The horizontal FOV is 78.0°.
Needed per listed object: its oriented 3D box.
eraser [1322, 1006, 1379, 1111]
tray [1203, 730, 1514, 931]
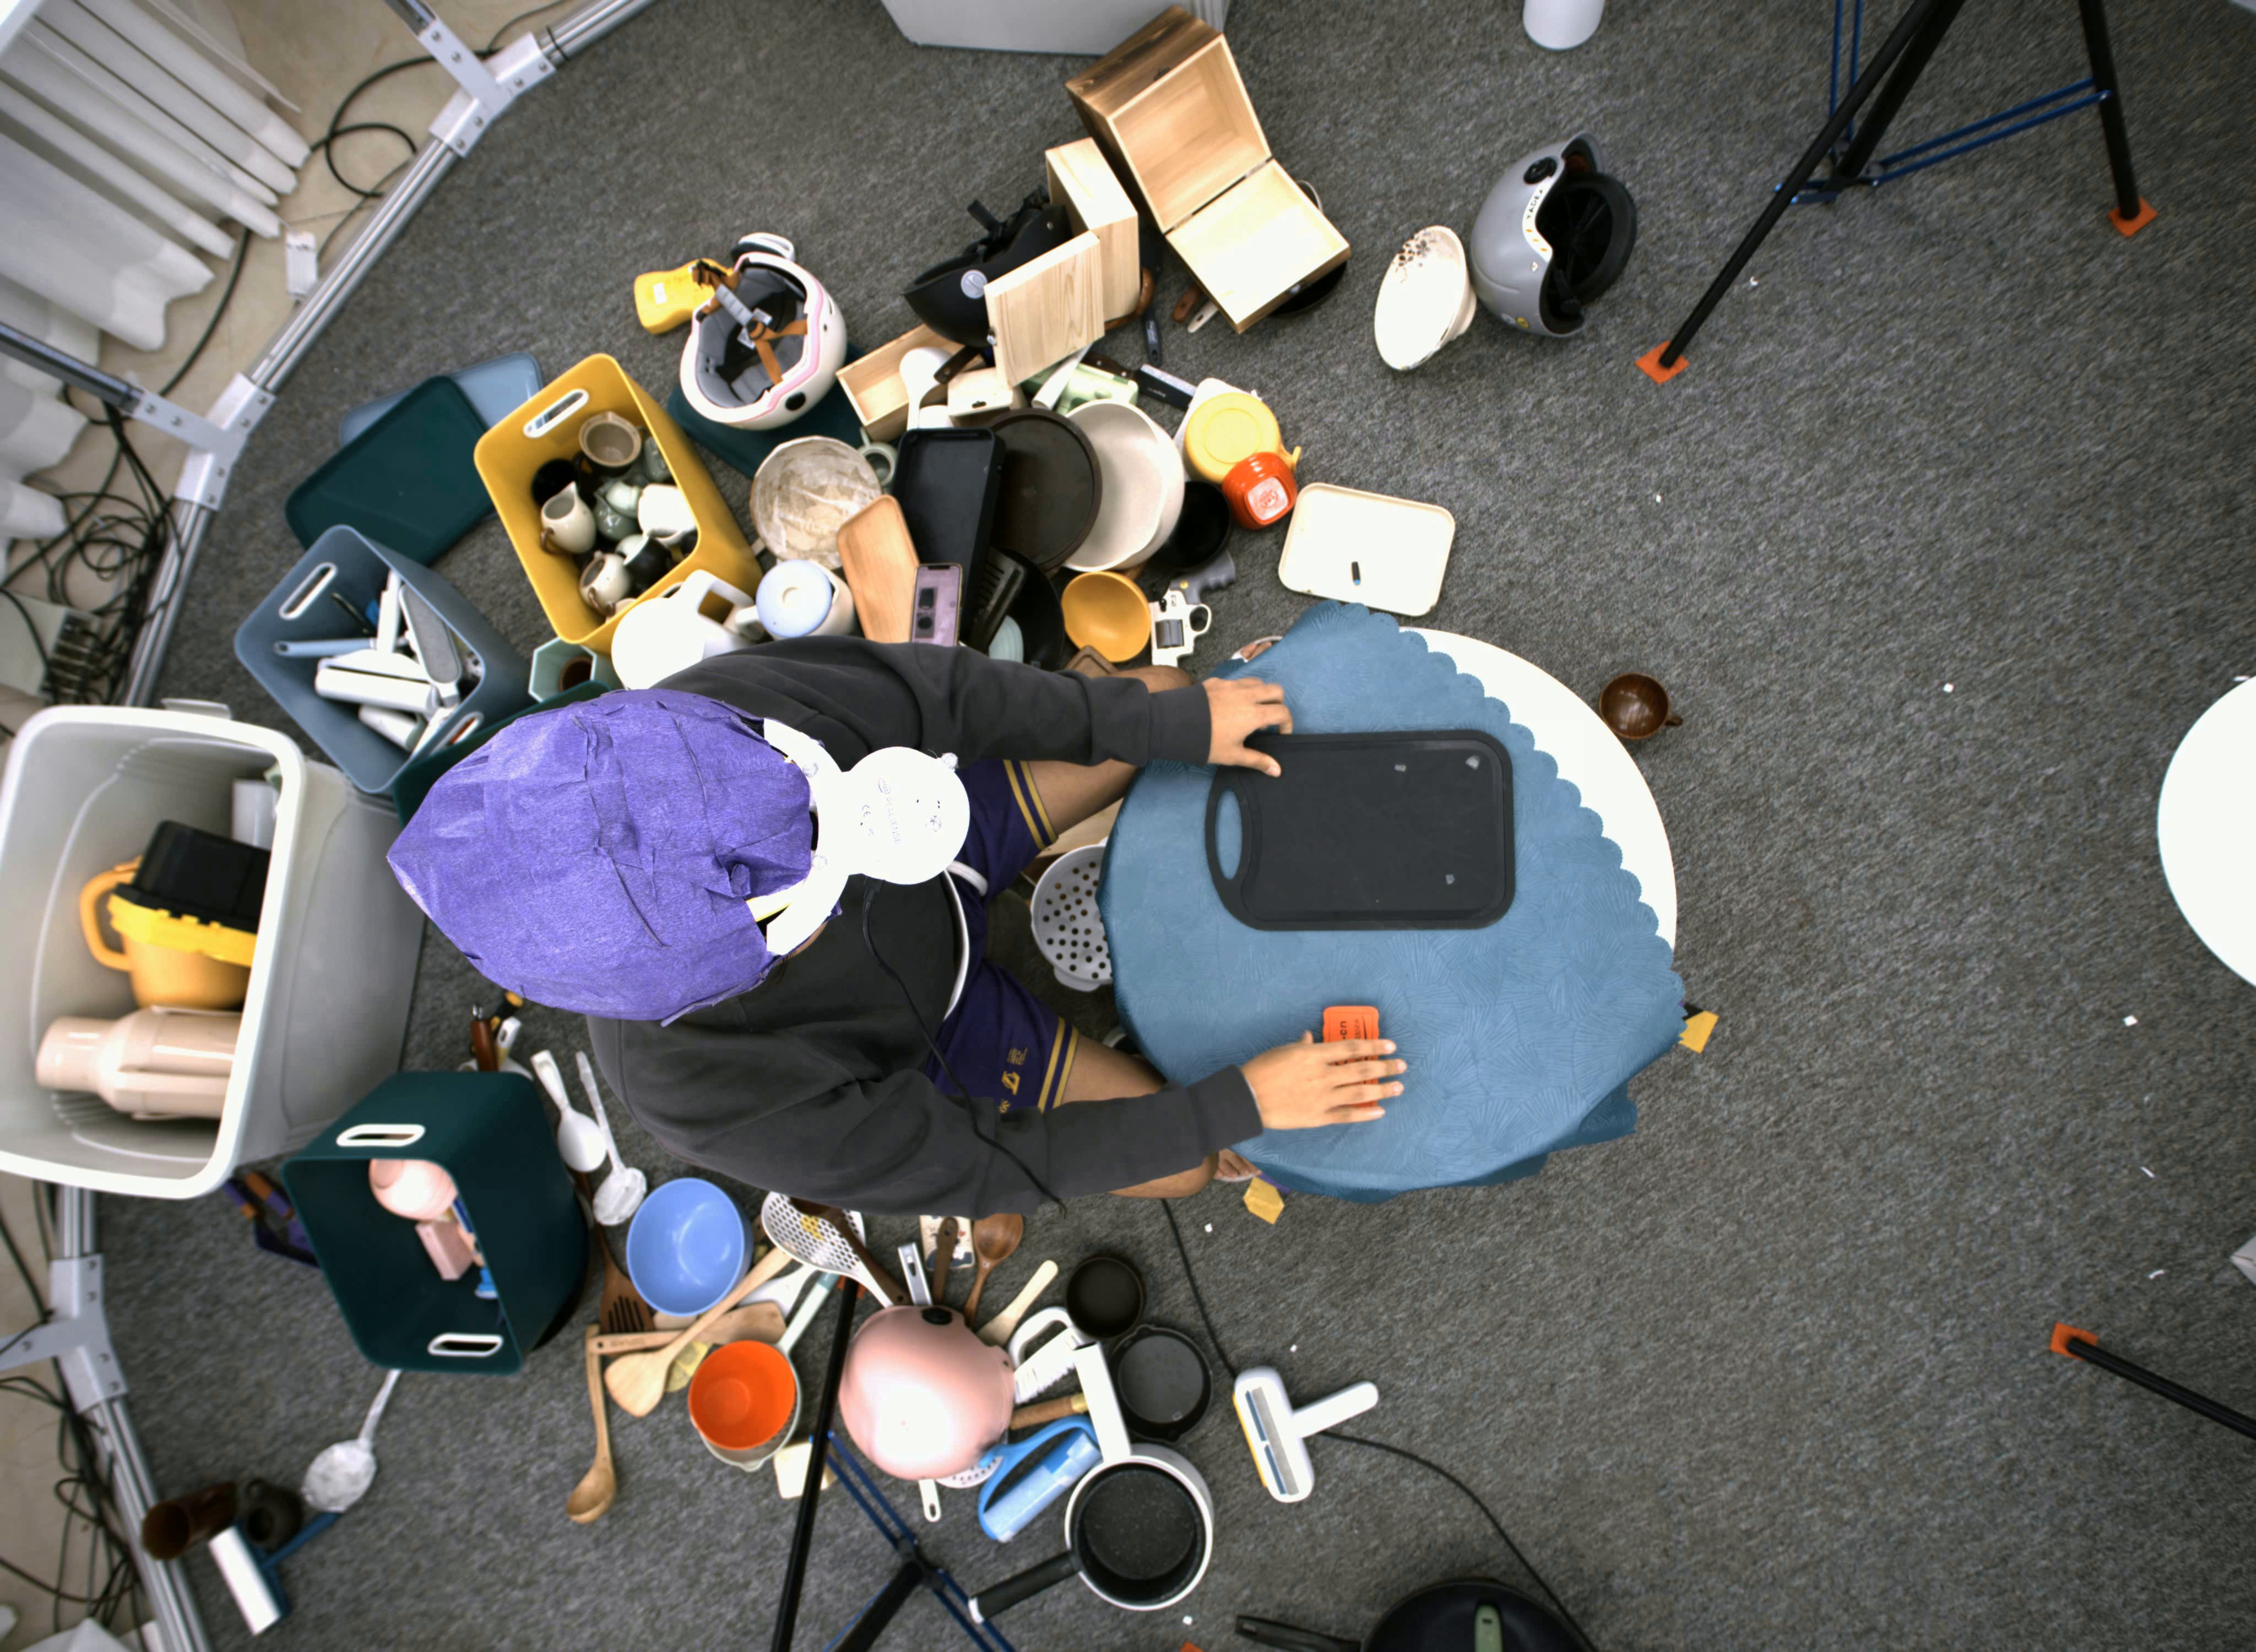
[{"bbox_3d":[0.232,0.240,1.442,0.059,0.023,0.107,0,85,11],"label":"eraser"},{"bbox_3d":[0.241,0.004,1.456,0.327,0.010,0.211,-1,92,10],"label":"tray"}]
